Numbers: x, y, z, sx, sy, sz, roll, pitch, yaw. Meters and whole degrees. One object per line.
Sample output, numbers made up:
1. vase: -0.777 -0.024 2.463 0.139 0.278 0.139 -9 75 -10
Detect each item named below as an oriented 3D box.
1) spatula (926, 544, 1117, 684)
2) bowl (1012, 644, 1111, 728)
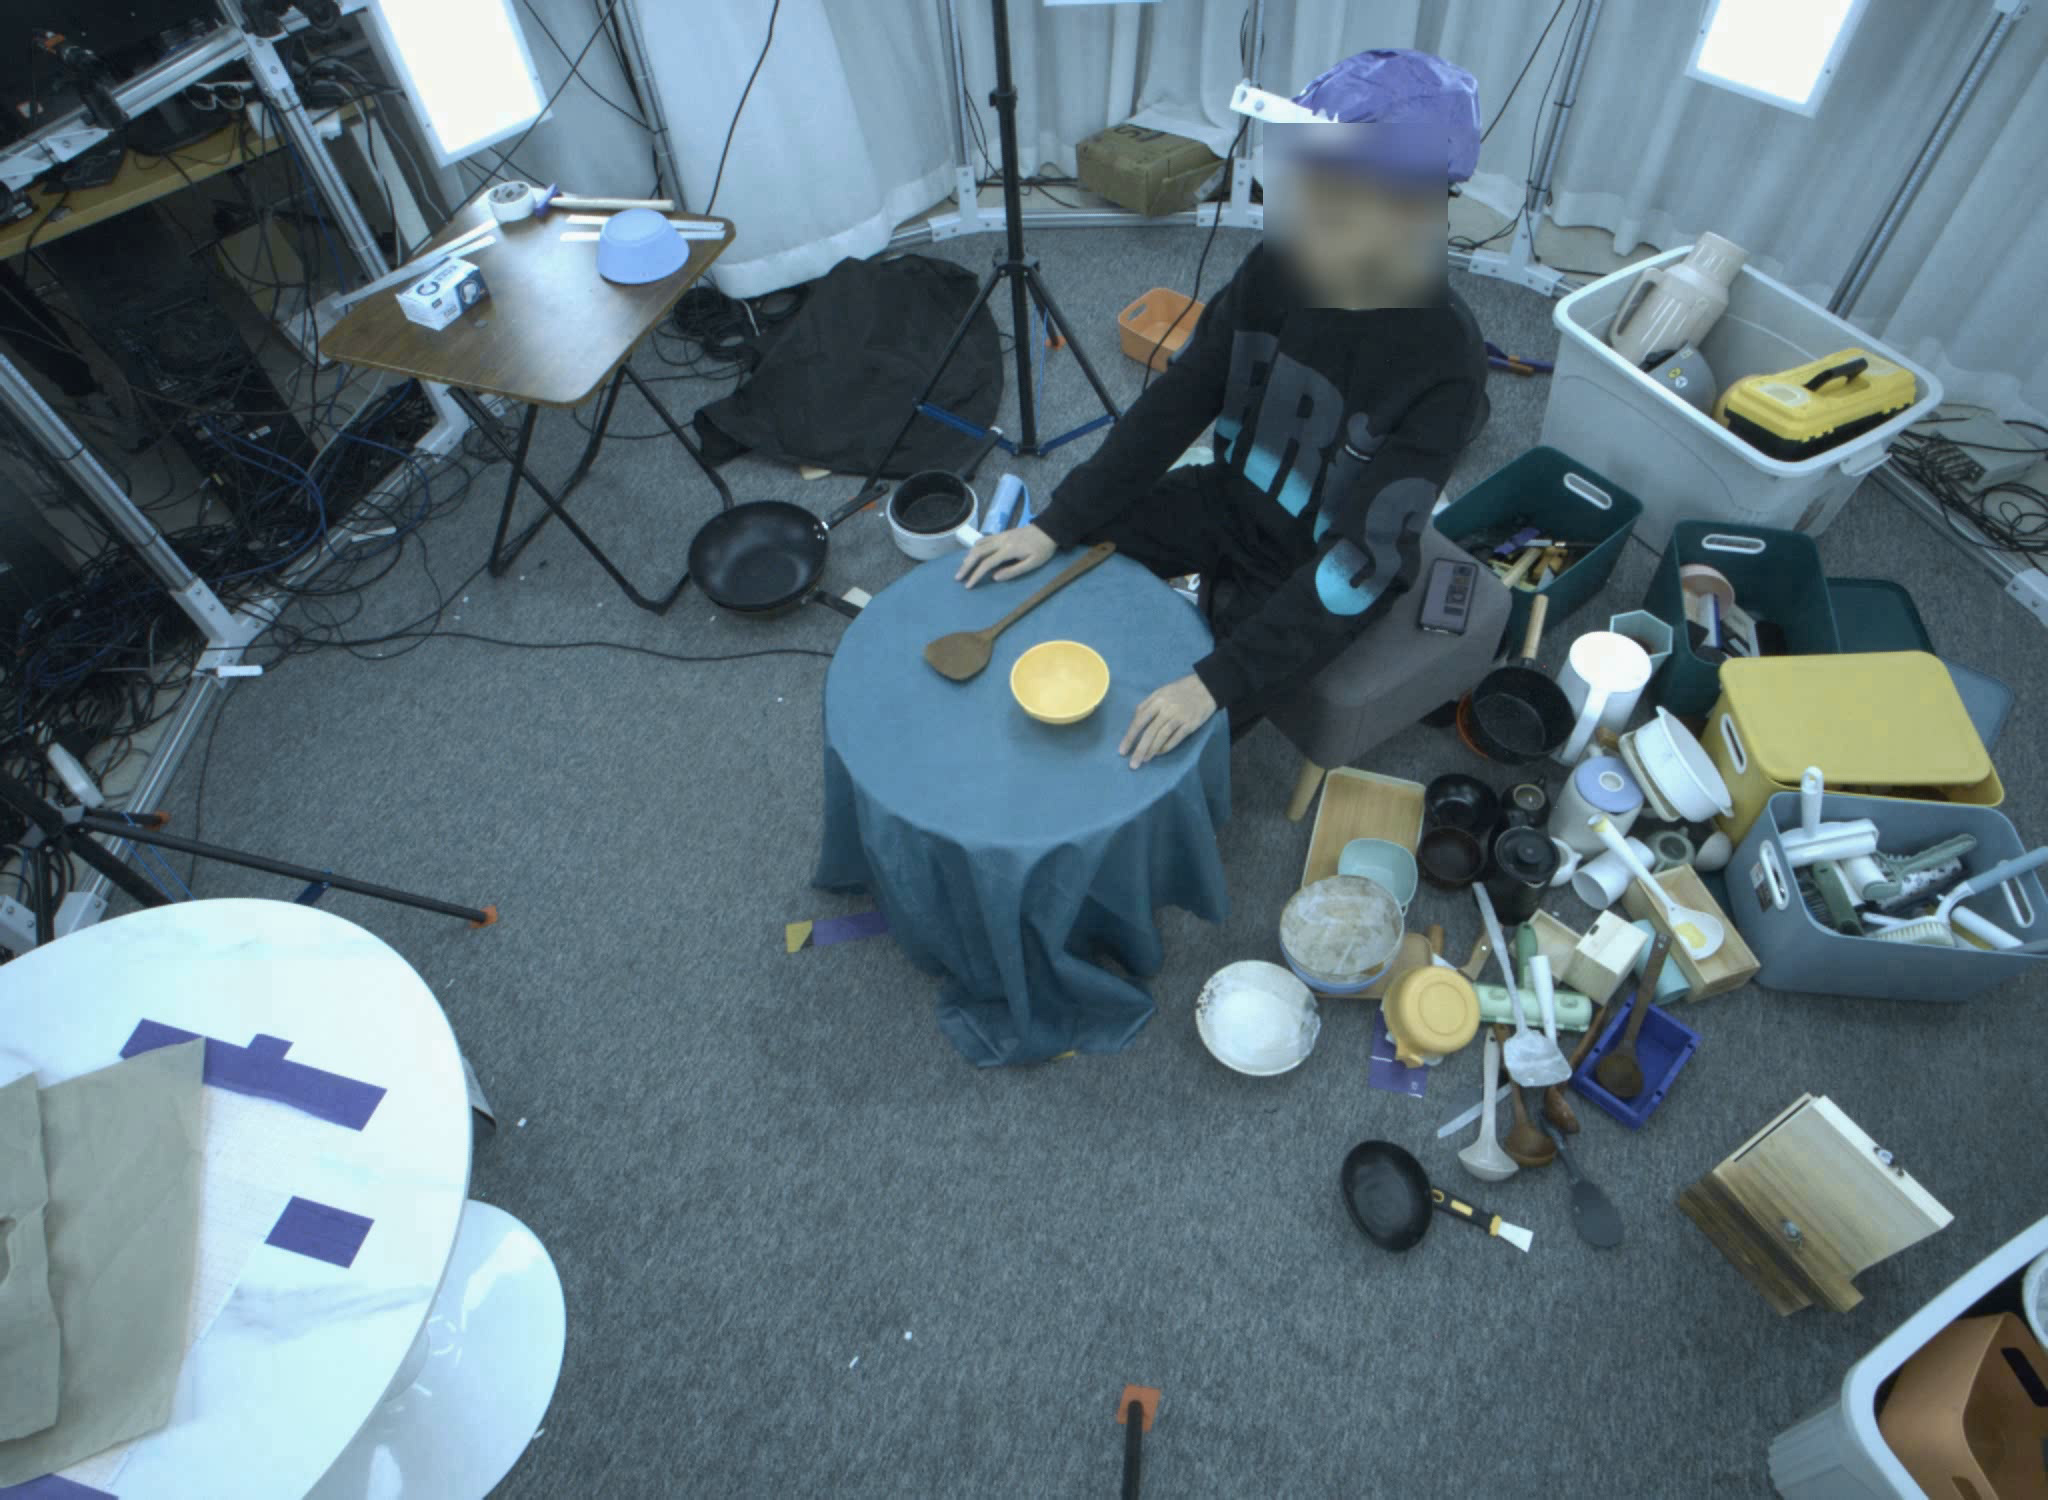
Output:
1. spatula: 0.009 -0.227 1.950 0.389 0.016 0.094 -39 63 -23
2. bowl: 0.055 -0.083 1.821 0.145 0.060 0.144 1 56 0
